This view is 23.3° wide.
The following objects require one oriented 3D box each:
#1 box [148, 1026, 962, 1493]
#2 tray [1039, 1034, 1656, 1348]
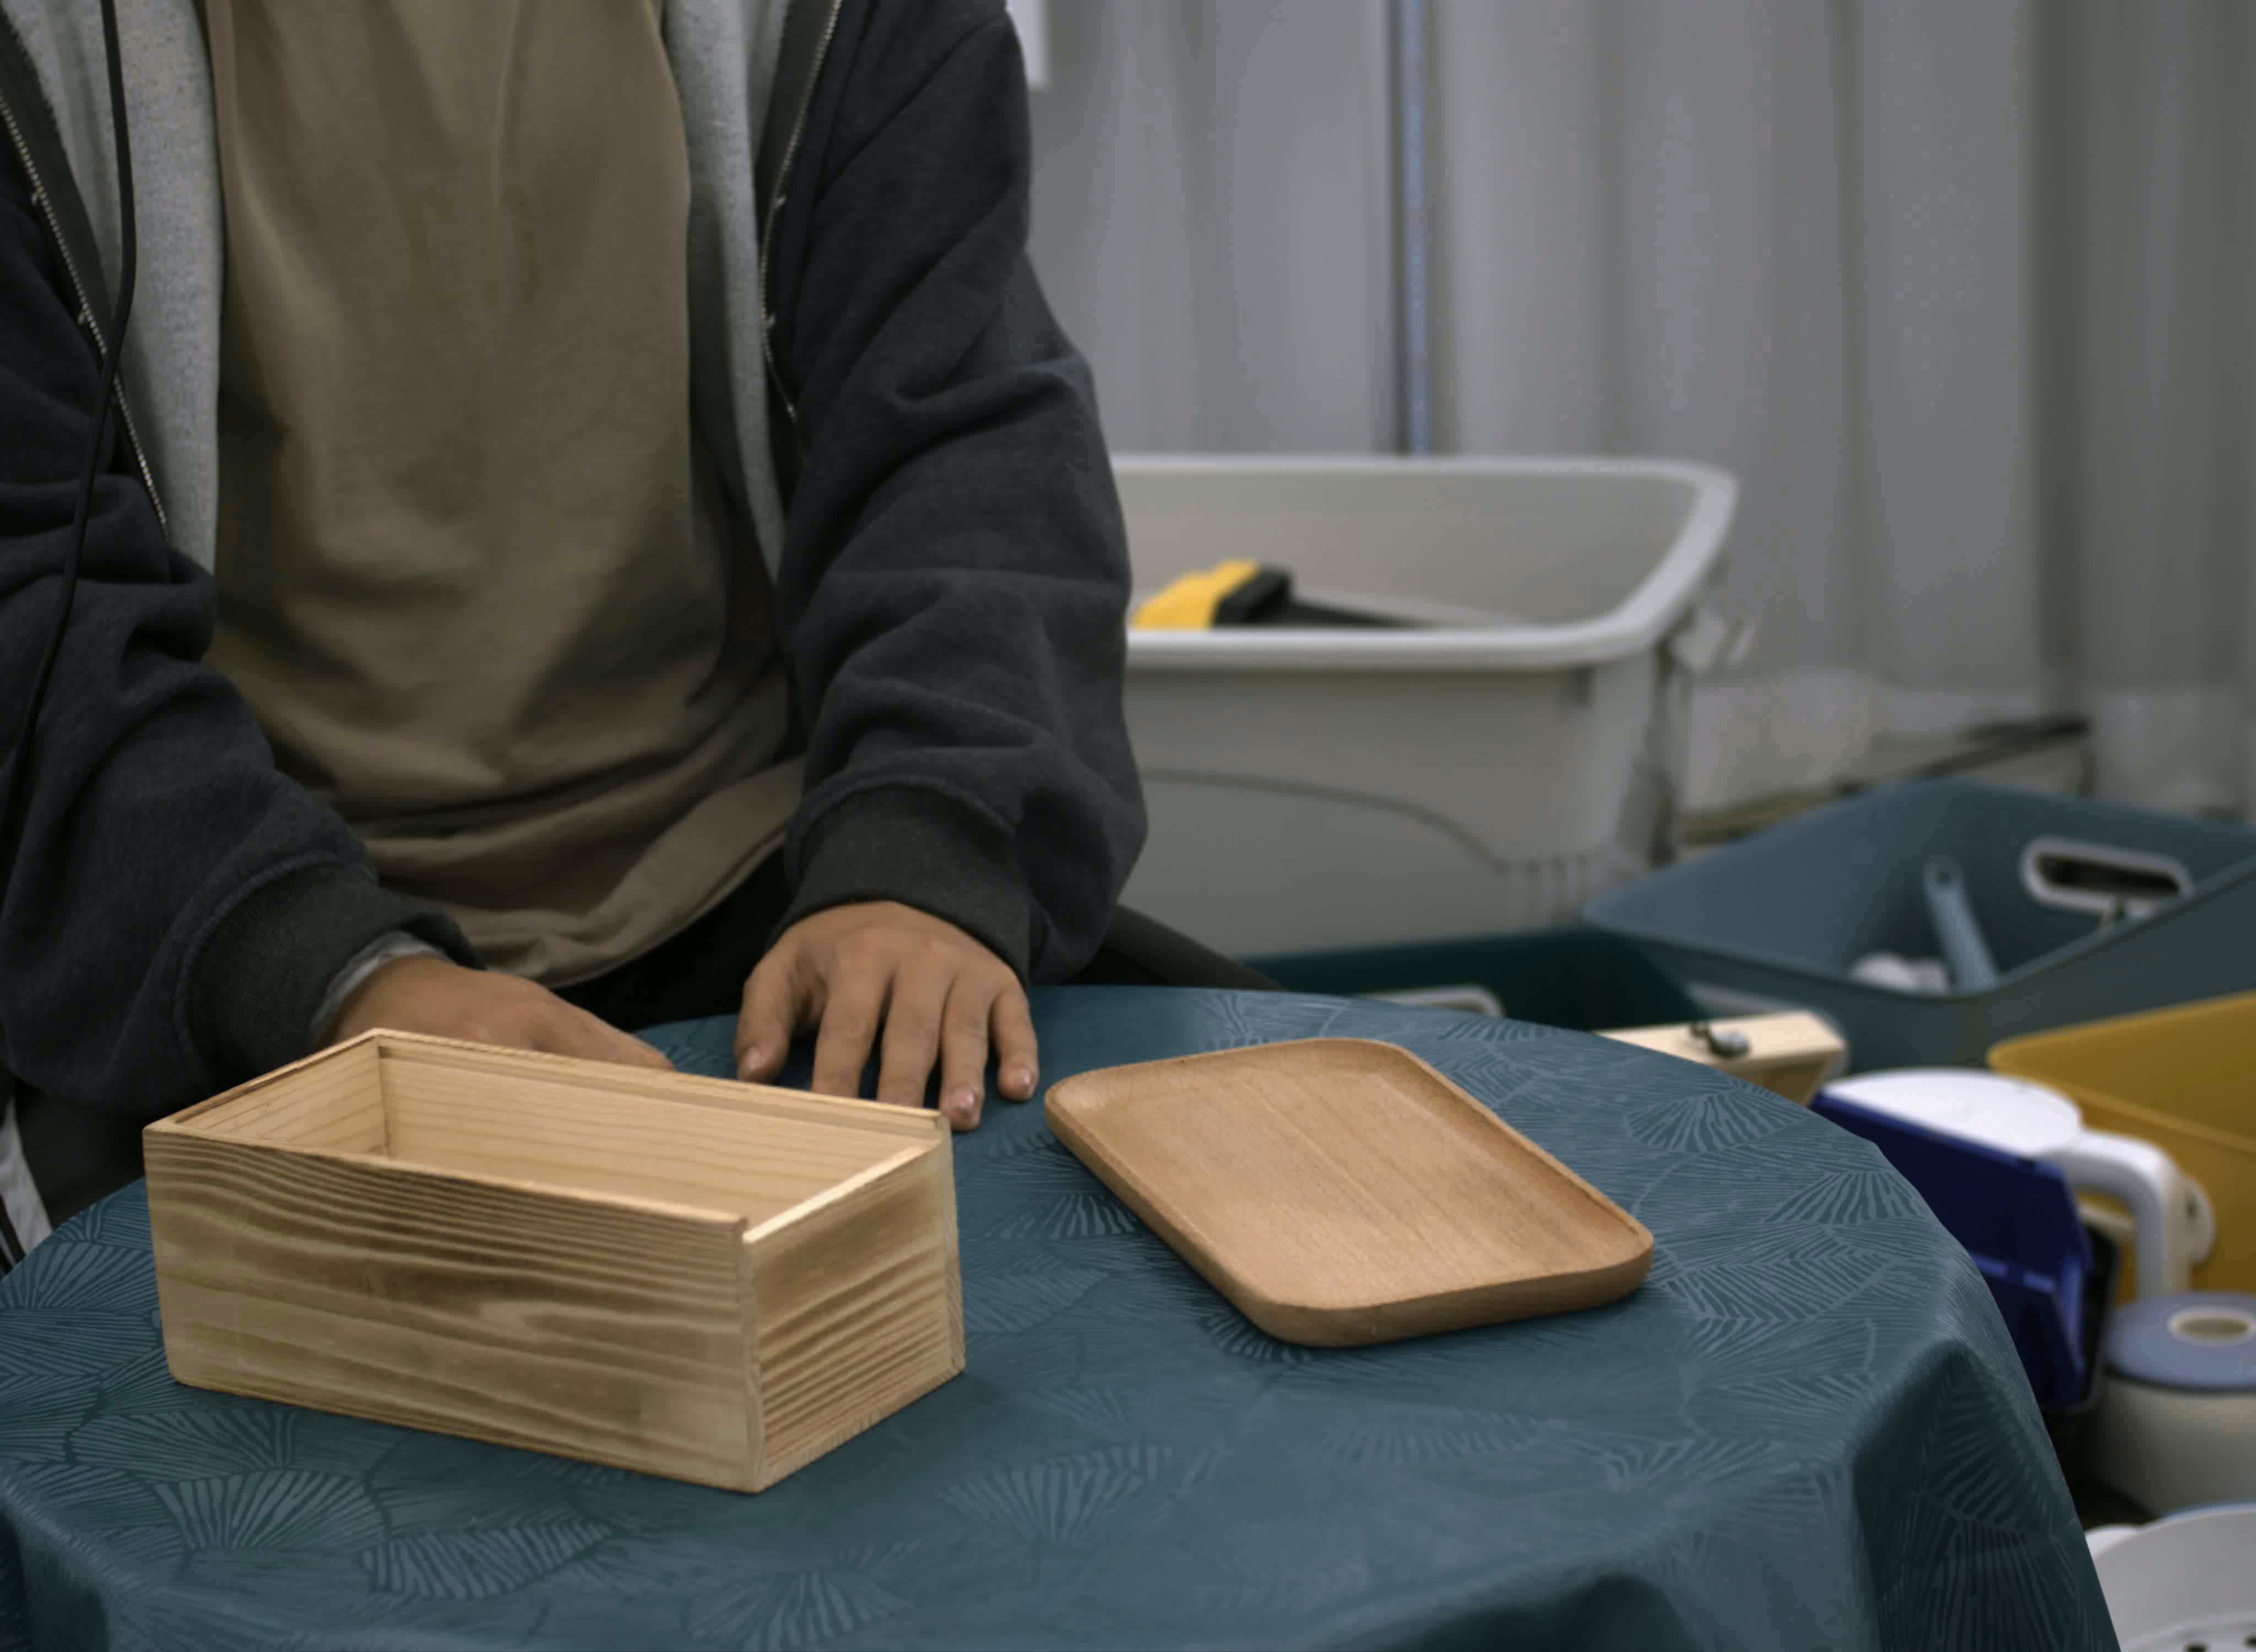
[{"bbox_3d":[-0.165,0.121,1.571,0.212,0.080,0.107,6,17,32],"label":"box"},{"bbox_3d":[0.063,0.110,1.688,0.130,0.023,0.252,-5,14,-17],"label":"tray"}]
